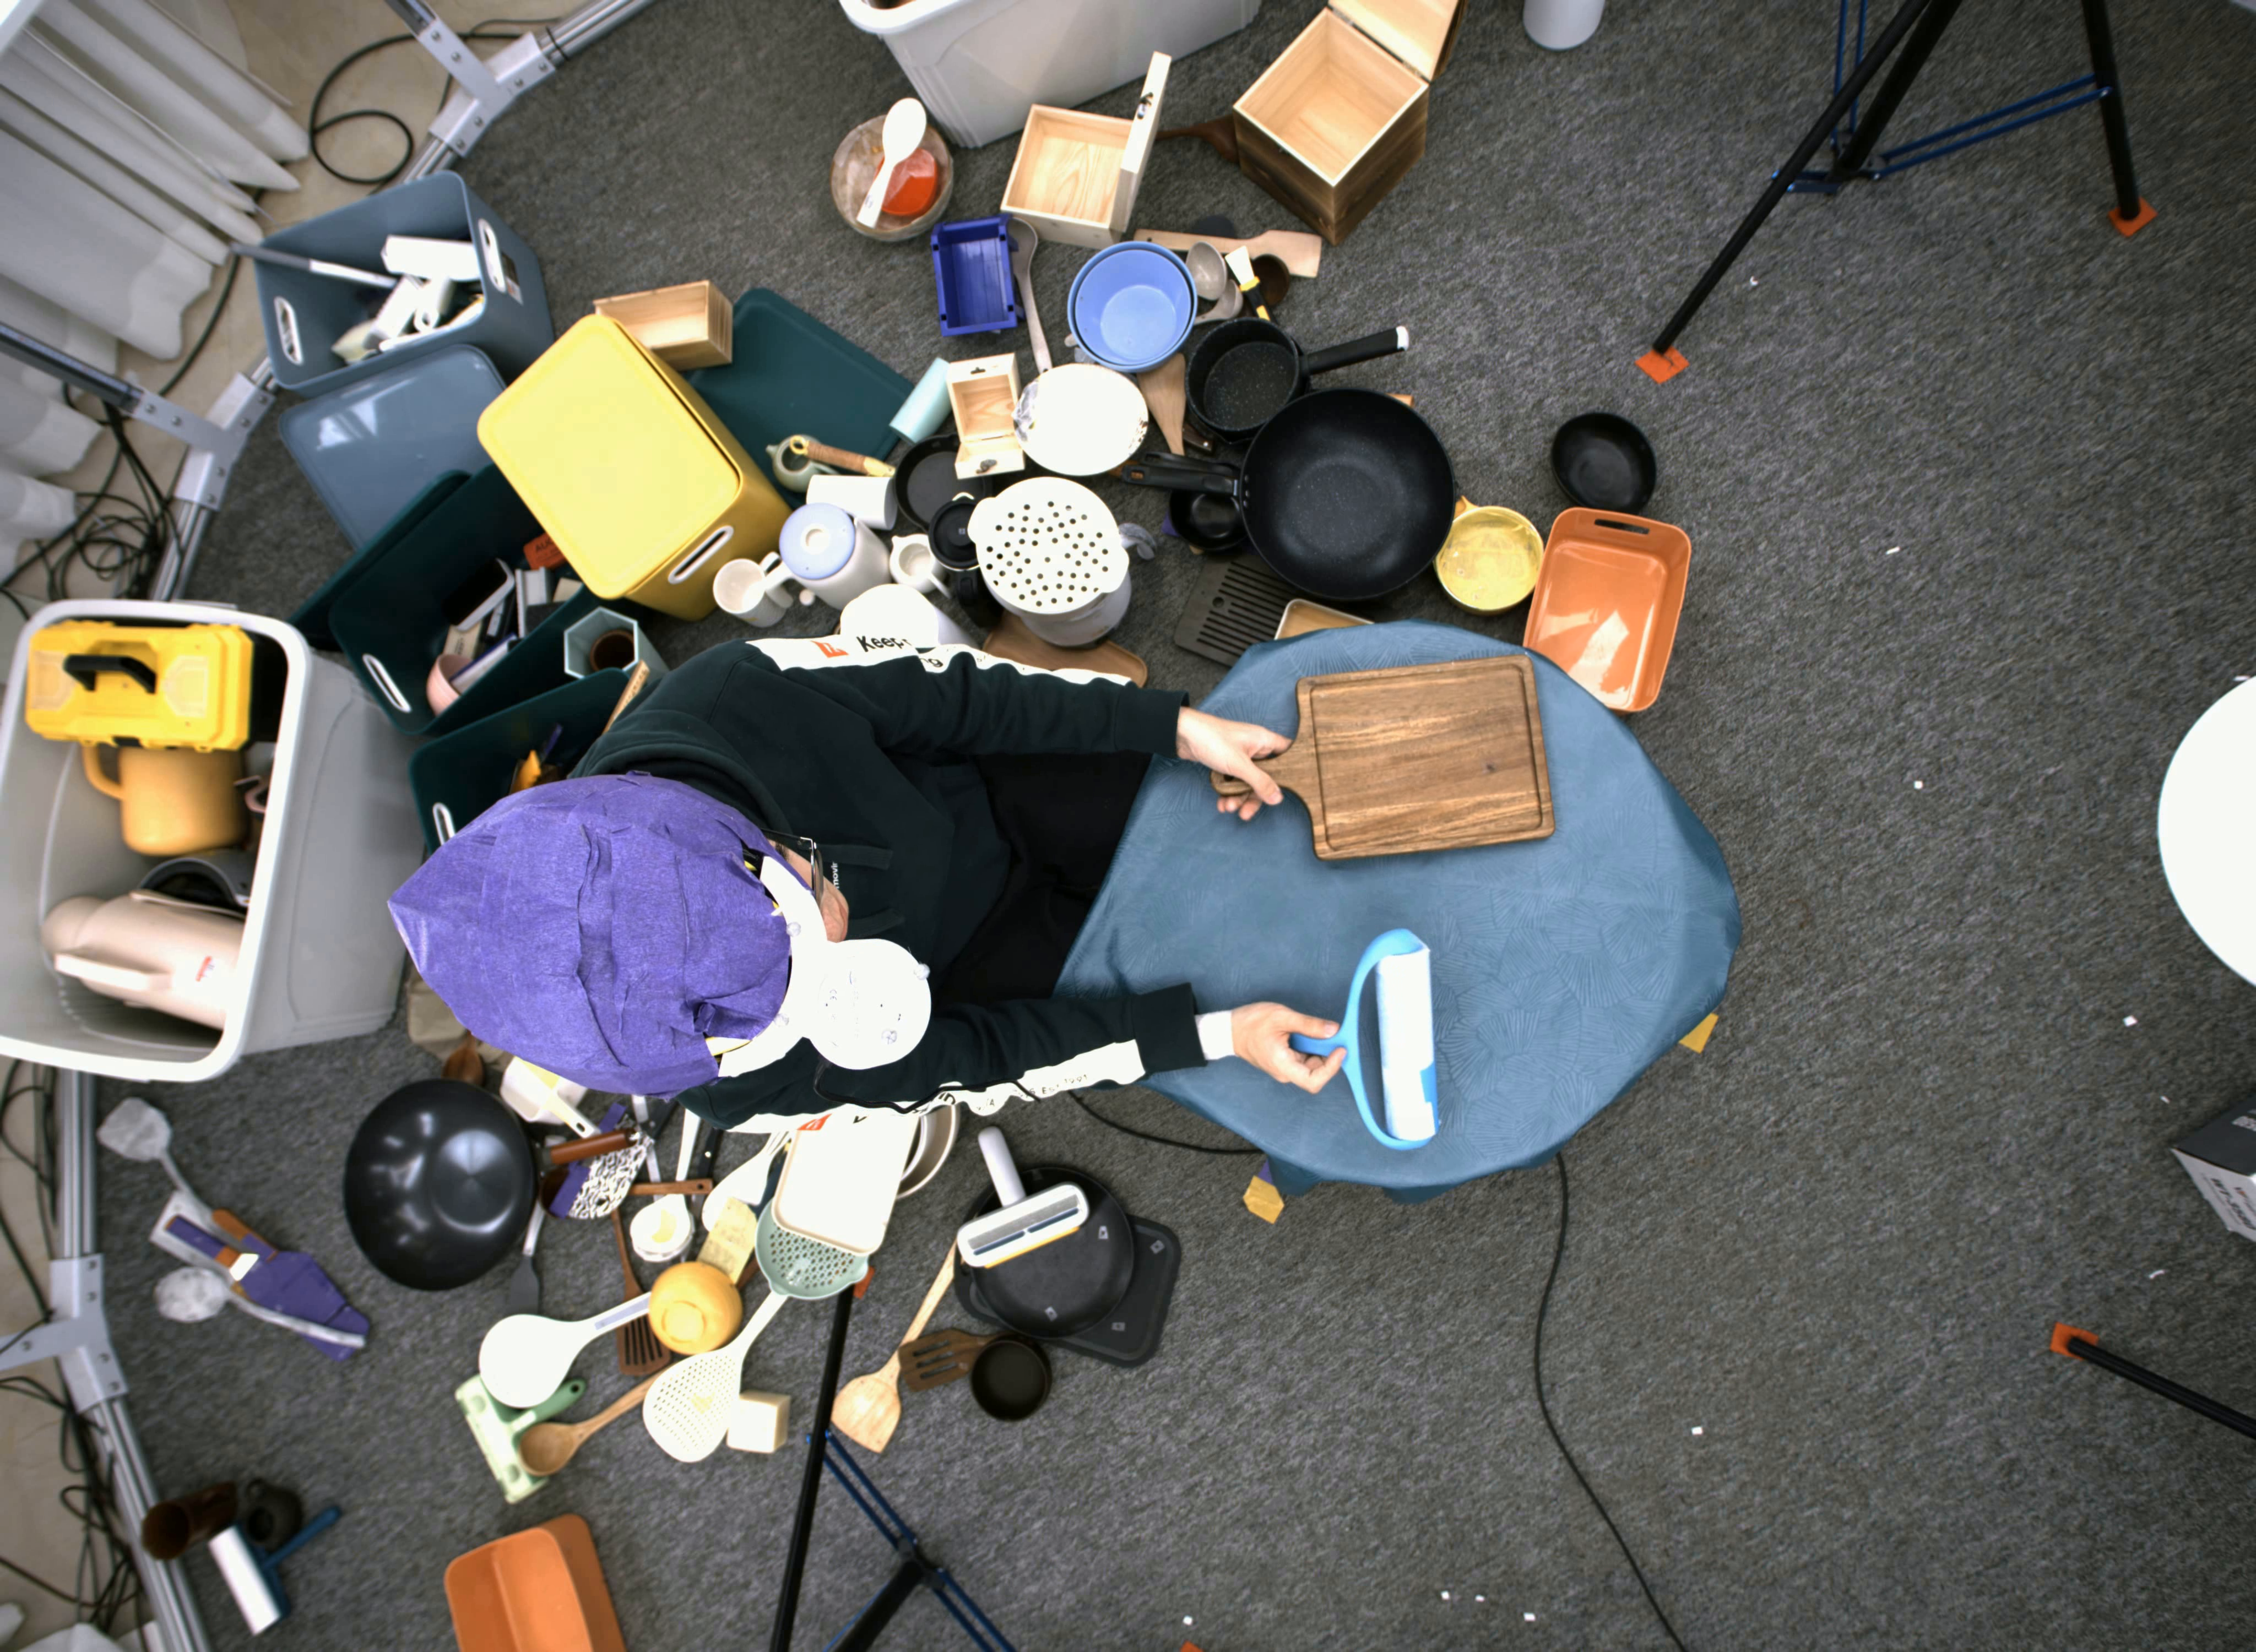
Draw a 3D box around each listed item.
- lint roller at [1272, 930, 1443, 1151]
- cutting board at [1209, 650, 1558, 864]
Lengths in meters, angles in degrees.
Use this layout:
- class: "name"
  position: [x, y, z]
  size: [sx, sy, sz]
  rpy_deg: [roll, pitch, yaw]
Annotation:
- class: "lint roller"
  position: [0.226, 0.217, 1.398]
  size: [0.181, 0.067, 0.231]
  rpy_deg: [-3, 105, 22]
- class: "cutting board"
  position: [0.259, -0.069, 1.434]
  size: [0.353, 0.023, 0.200]
  rpy_deg: [-7, 85, 3]
